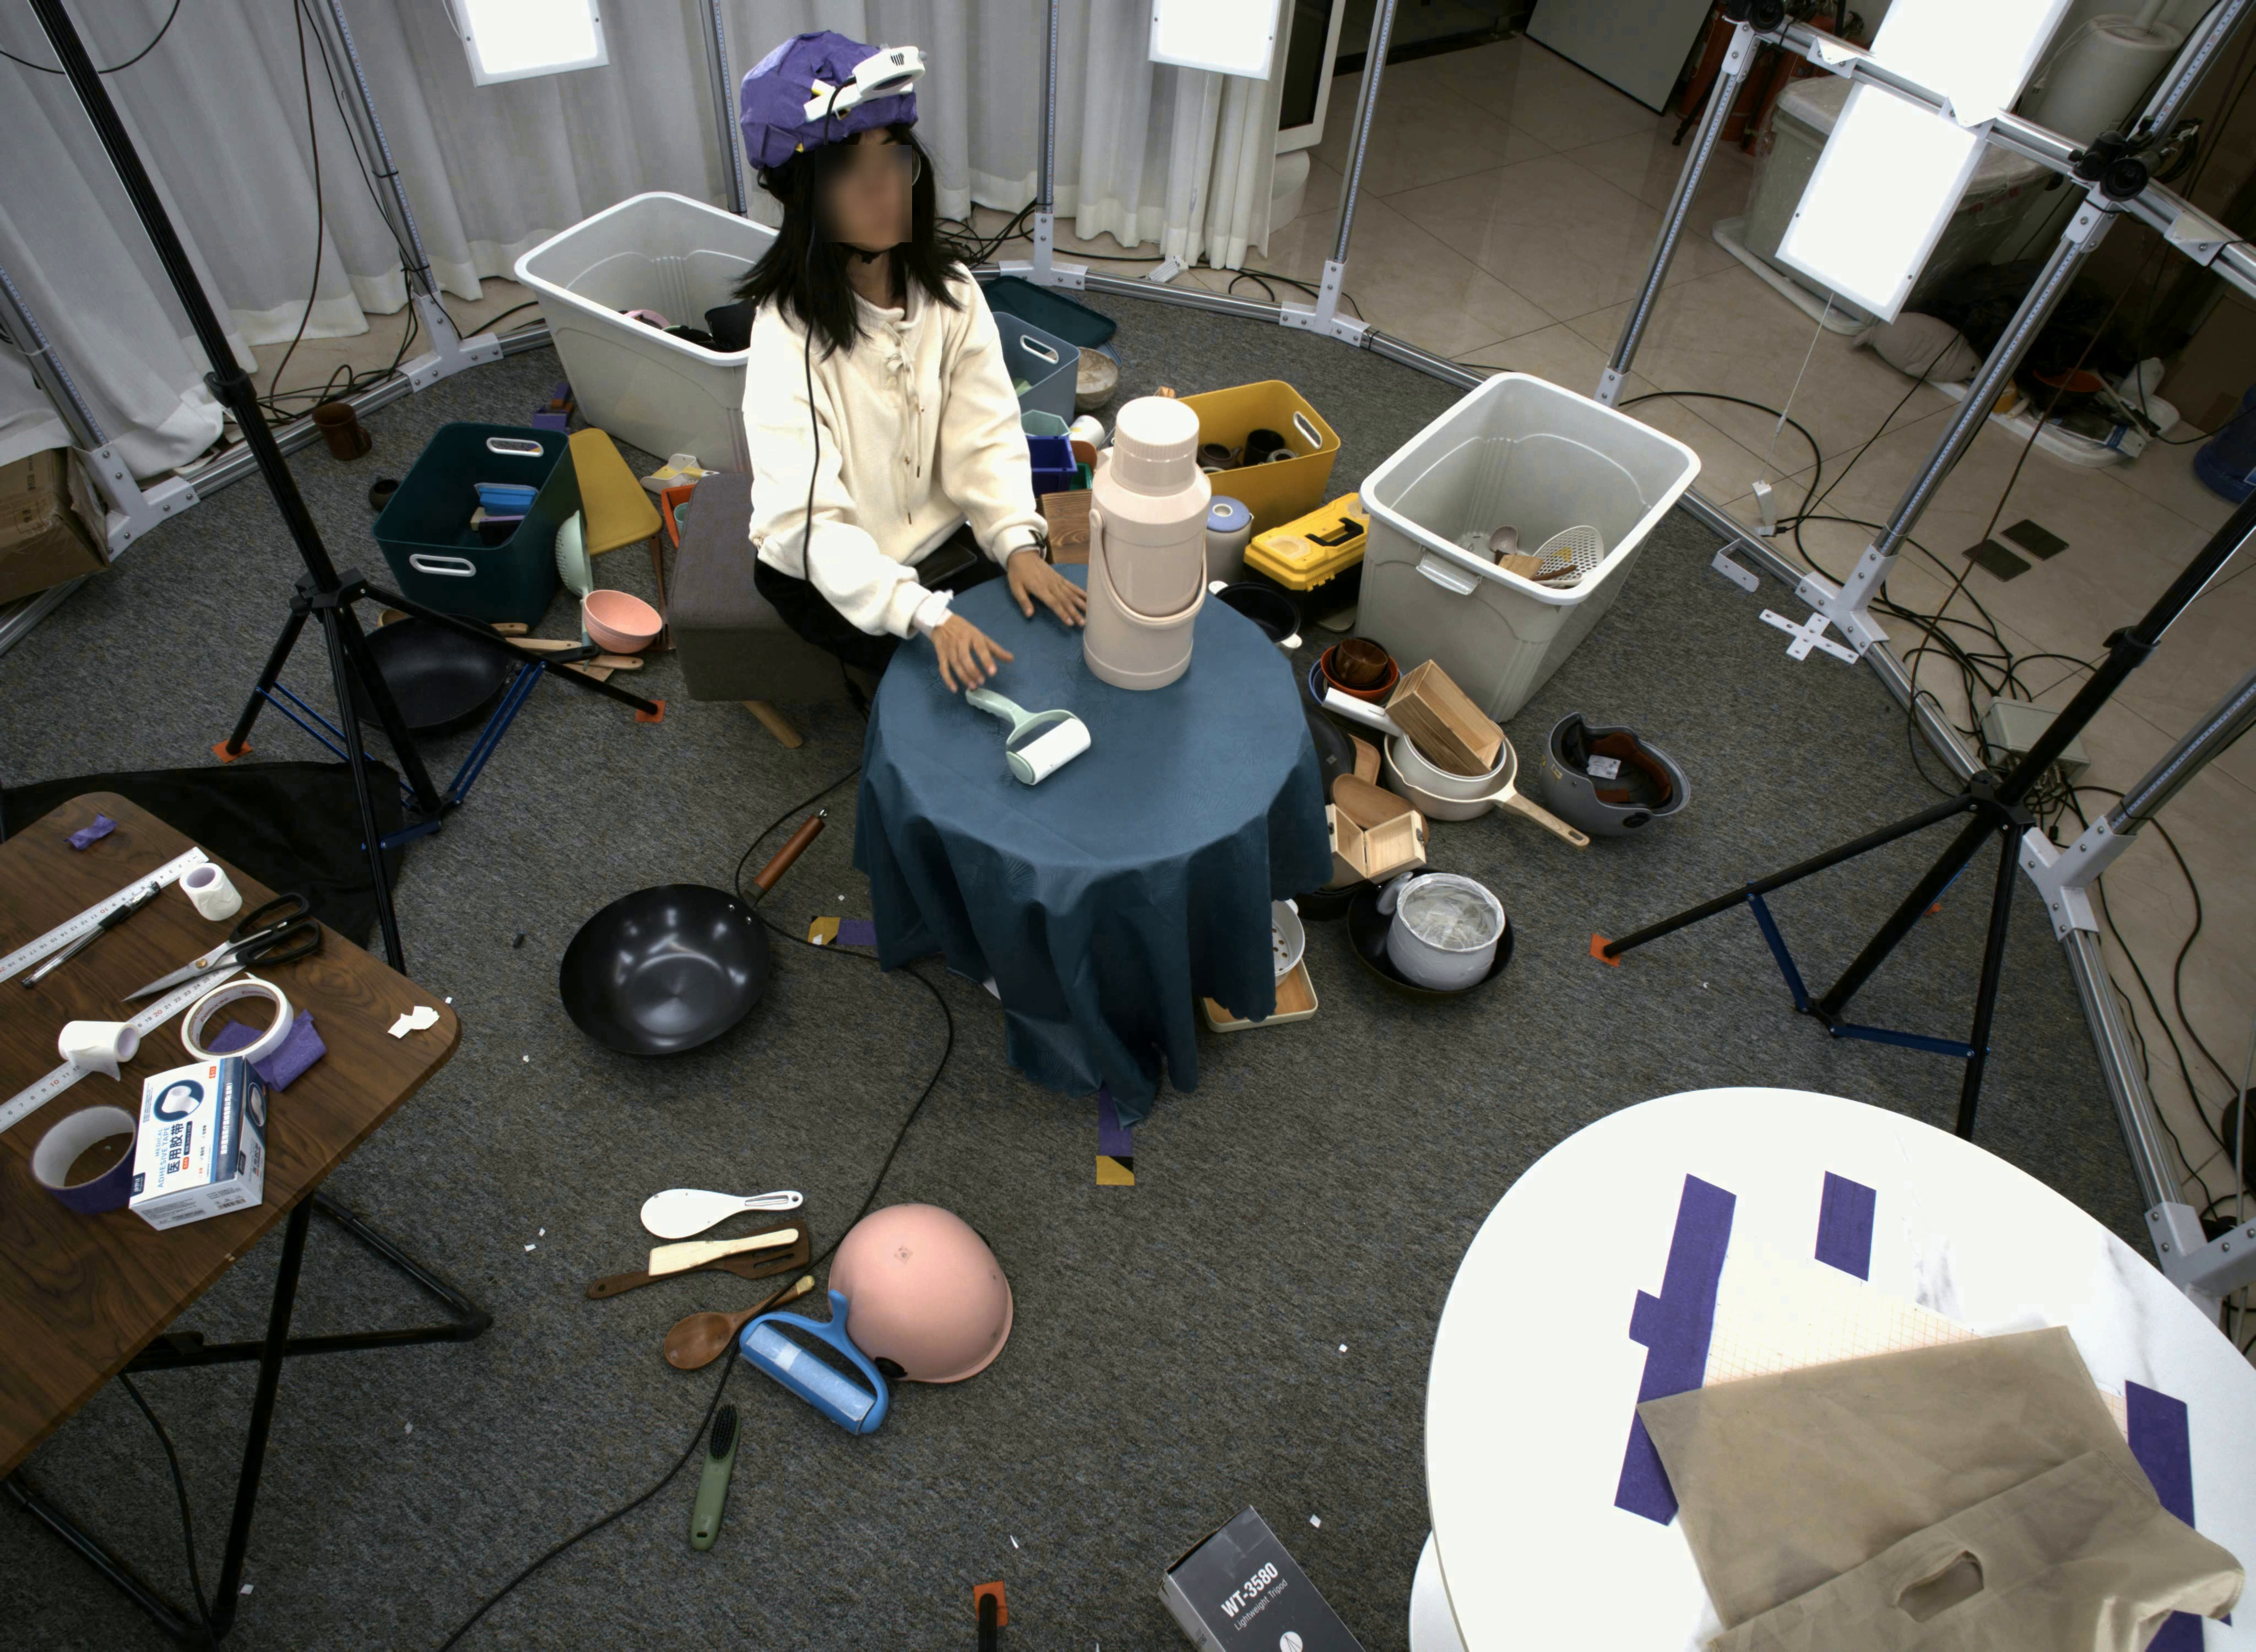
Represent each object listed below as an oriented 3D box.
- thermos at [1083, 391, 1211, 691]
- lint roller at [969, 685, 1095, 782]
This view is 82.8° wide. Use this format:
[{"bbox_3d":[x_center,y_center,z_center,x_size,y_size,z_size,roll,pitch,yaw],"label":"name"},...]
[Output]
[{"bbox_3d":[0.019,-0.389,1.754,0.176,0.396,0.211,-23,55,-22],"label":"thermos"},{"bbox_3d":[-0.147,-0.147,1.758,0.117,0.047,0.200,-36,61,-27],"label":"lint roller"}]
